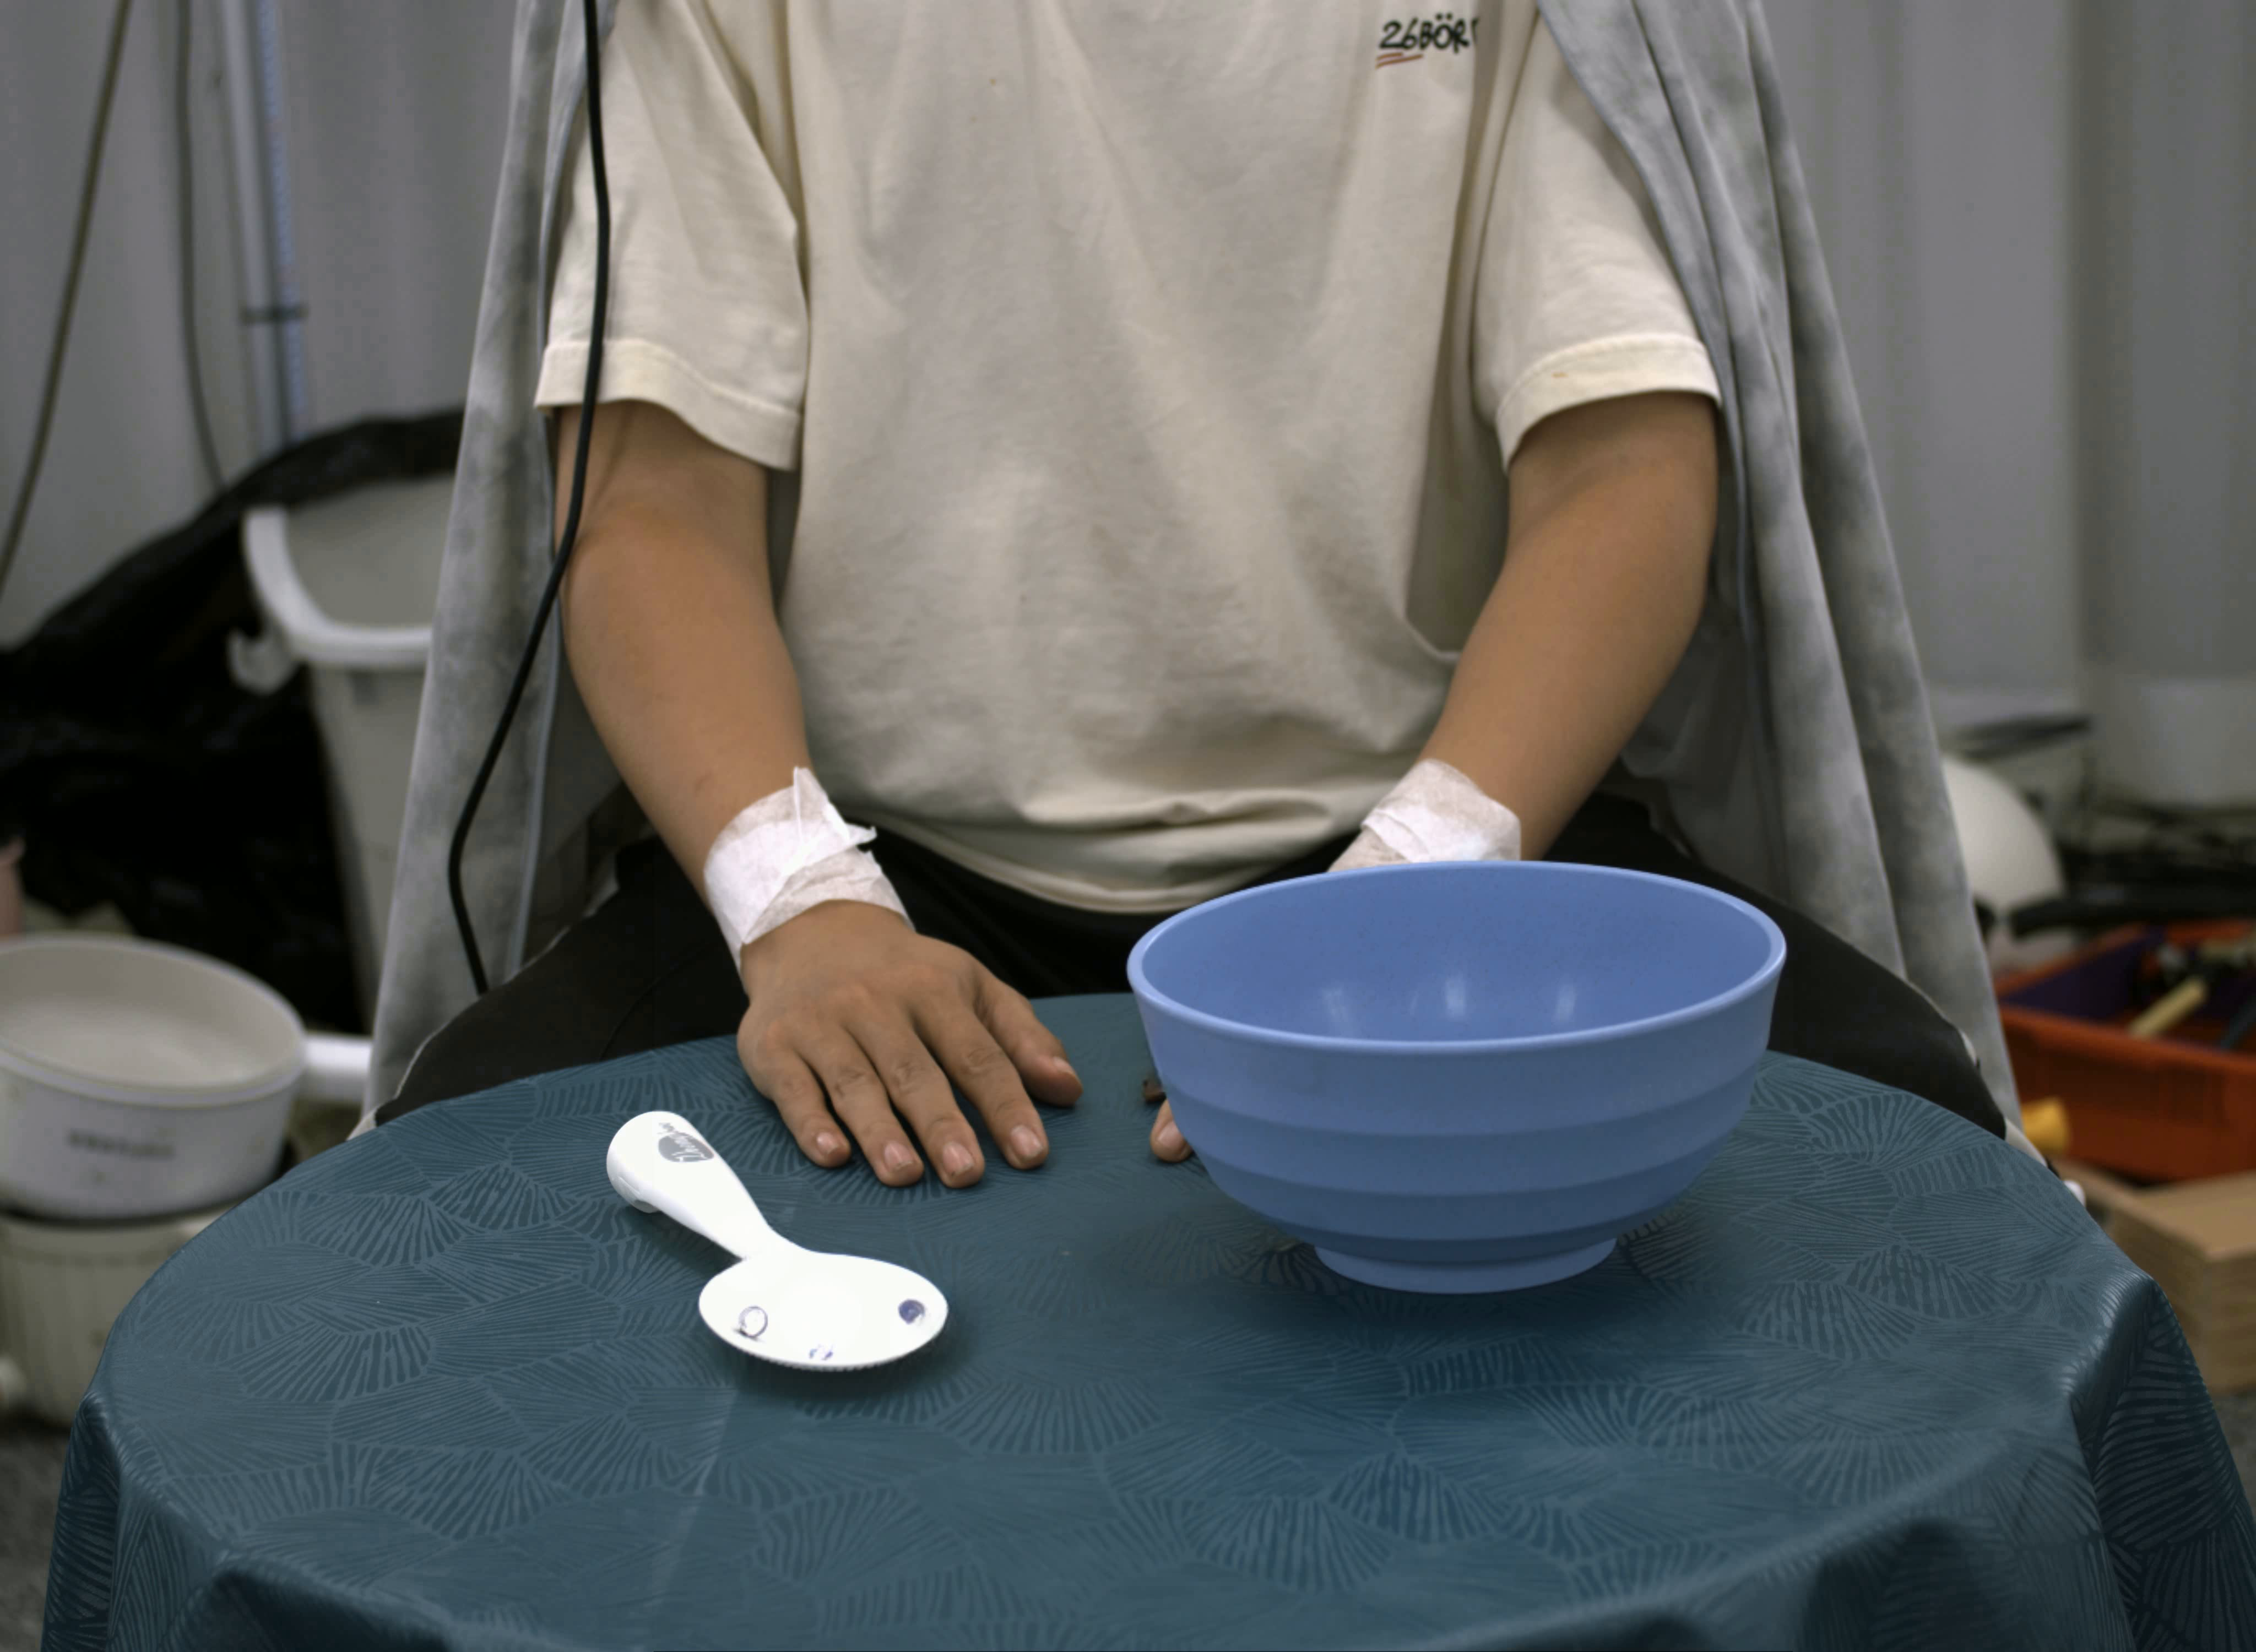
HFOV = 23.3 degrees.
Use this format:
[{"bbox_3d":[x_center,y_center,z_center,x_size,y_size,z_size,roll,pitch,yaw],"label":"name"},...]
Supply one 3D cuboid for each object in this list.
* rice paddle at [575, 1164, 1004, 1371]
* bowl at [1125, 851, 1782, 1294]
[{"bbox_3d":[-0.104,0.134,1.629,0.068,0.029,0.206,3,6,-33],"label":"rice paddle"},{"bbox_3d":[0.099,0.080,1.643,0.196,0.095,0.198,-4,16,1],"label":"bowl"}]
